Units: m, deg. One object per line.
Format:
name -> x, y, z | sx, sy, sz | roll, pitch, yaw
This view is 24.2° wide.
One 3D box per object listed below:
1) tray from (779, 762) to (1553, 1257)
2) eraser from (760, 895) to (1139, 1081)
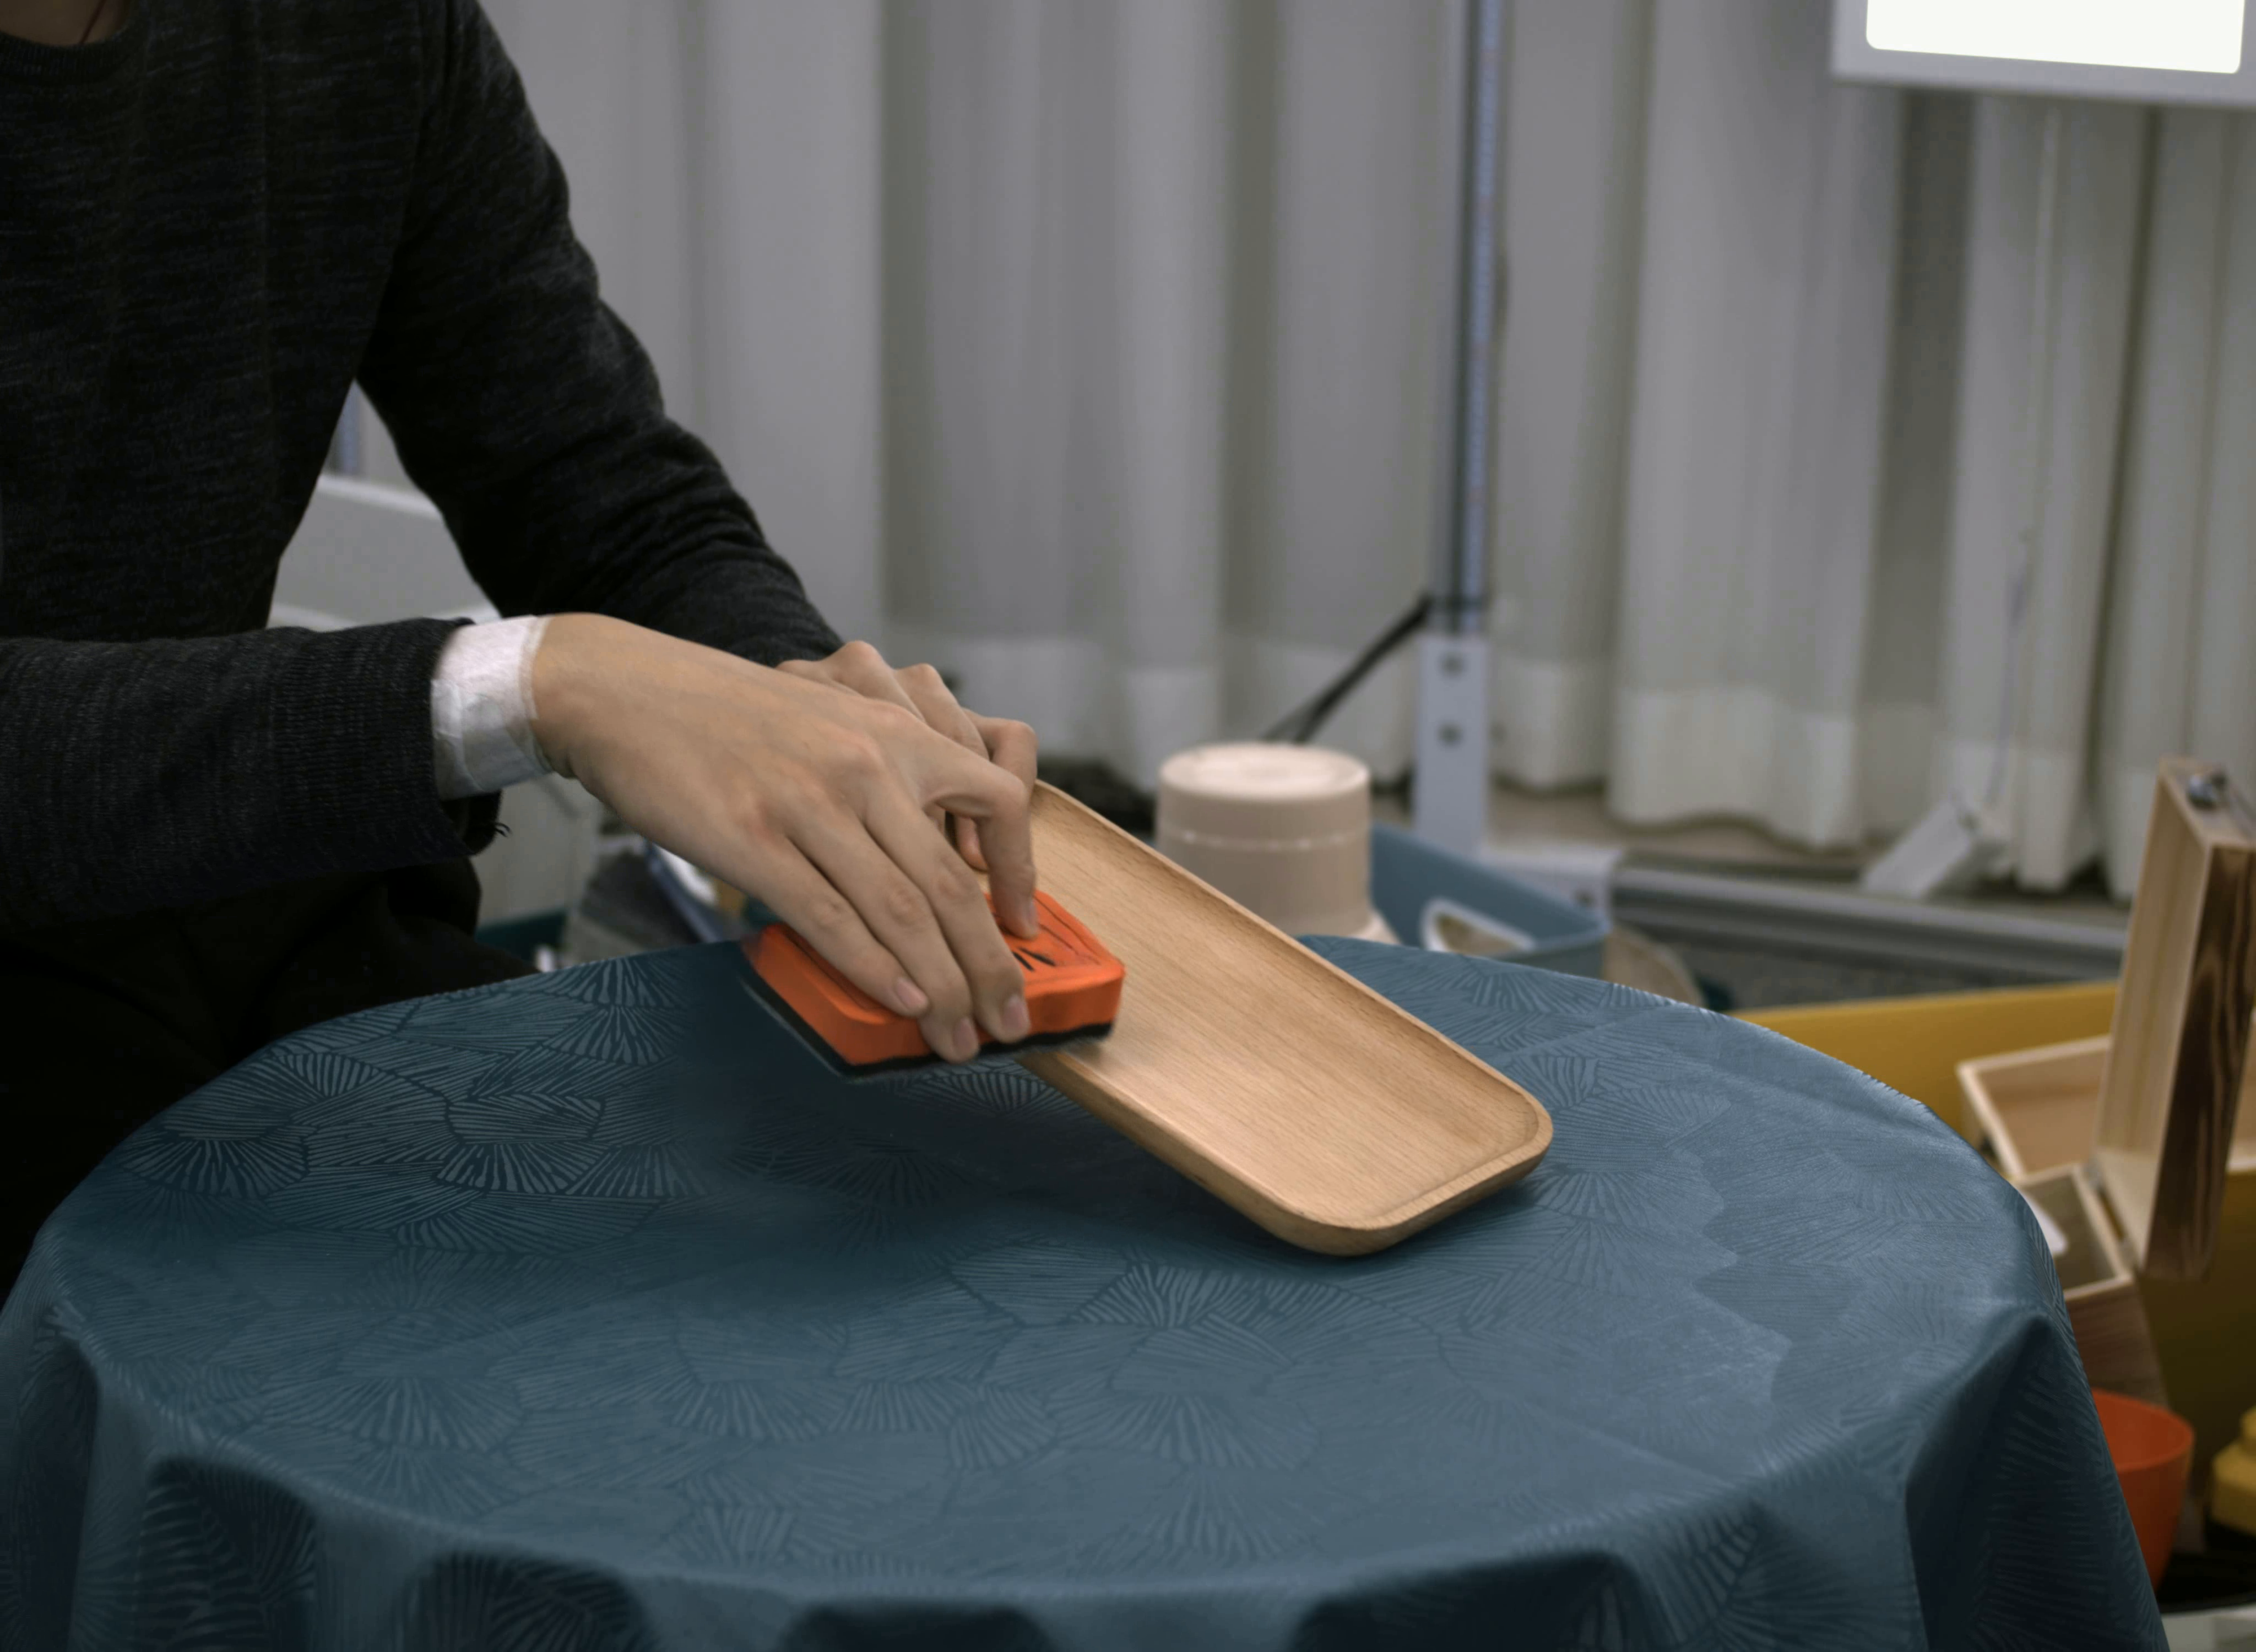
tray -> 0.010, 0.055, 1.648 | 0.247, 0.023, 0.131 | 33, 31, 29
eraser -> -0.054, 0.048, 1.590 | 0.108, 0.023, 0.058 | -7, 32, -37
